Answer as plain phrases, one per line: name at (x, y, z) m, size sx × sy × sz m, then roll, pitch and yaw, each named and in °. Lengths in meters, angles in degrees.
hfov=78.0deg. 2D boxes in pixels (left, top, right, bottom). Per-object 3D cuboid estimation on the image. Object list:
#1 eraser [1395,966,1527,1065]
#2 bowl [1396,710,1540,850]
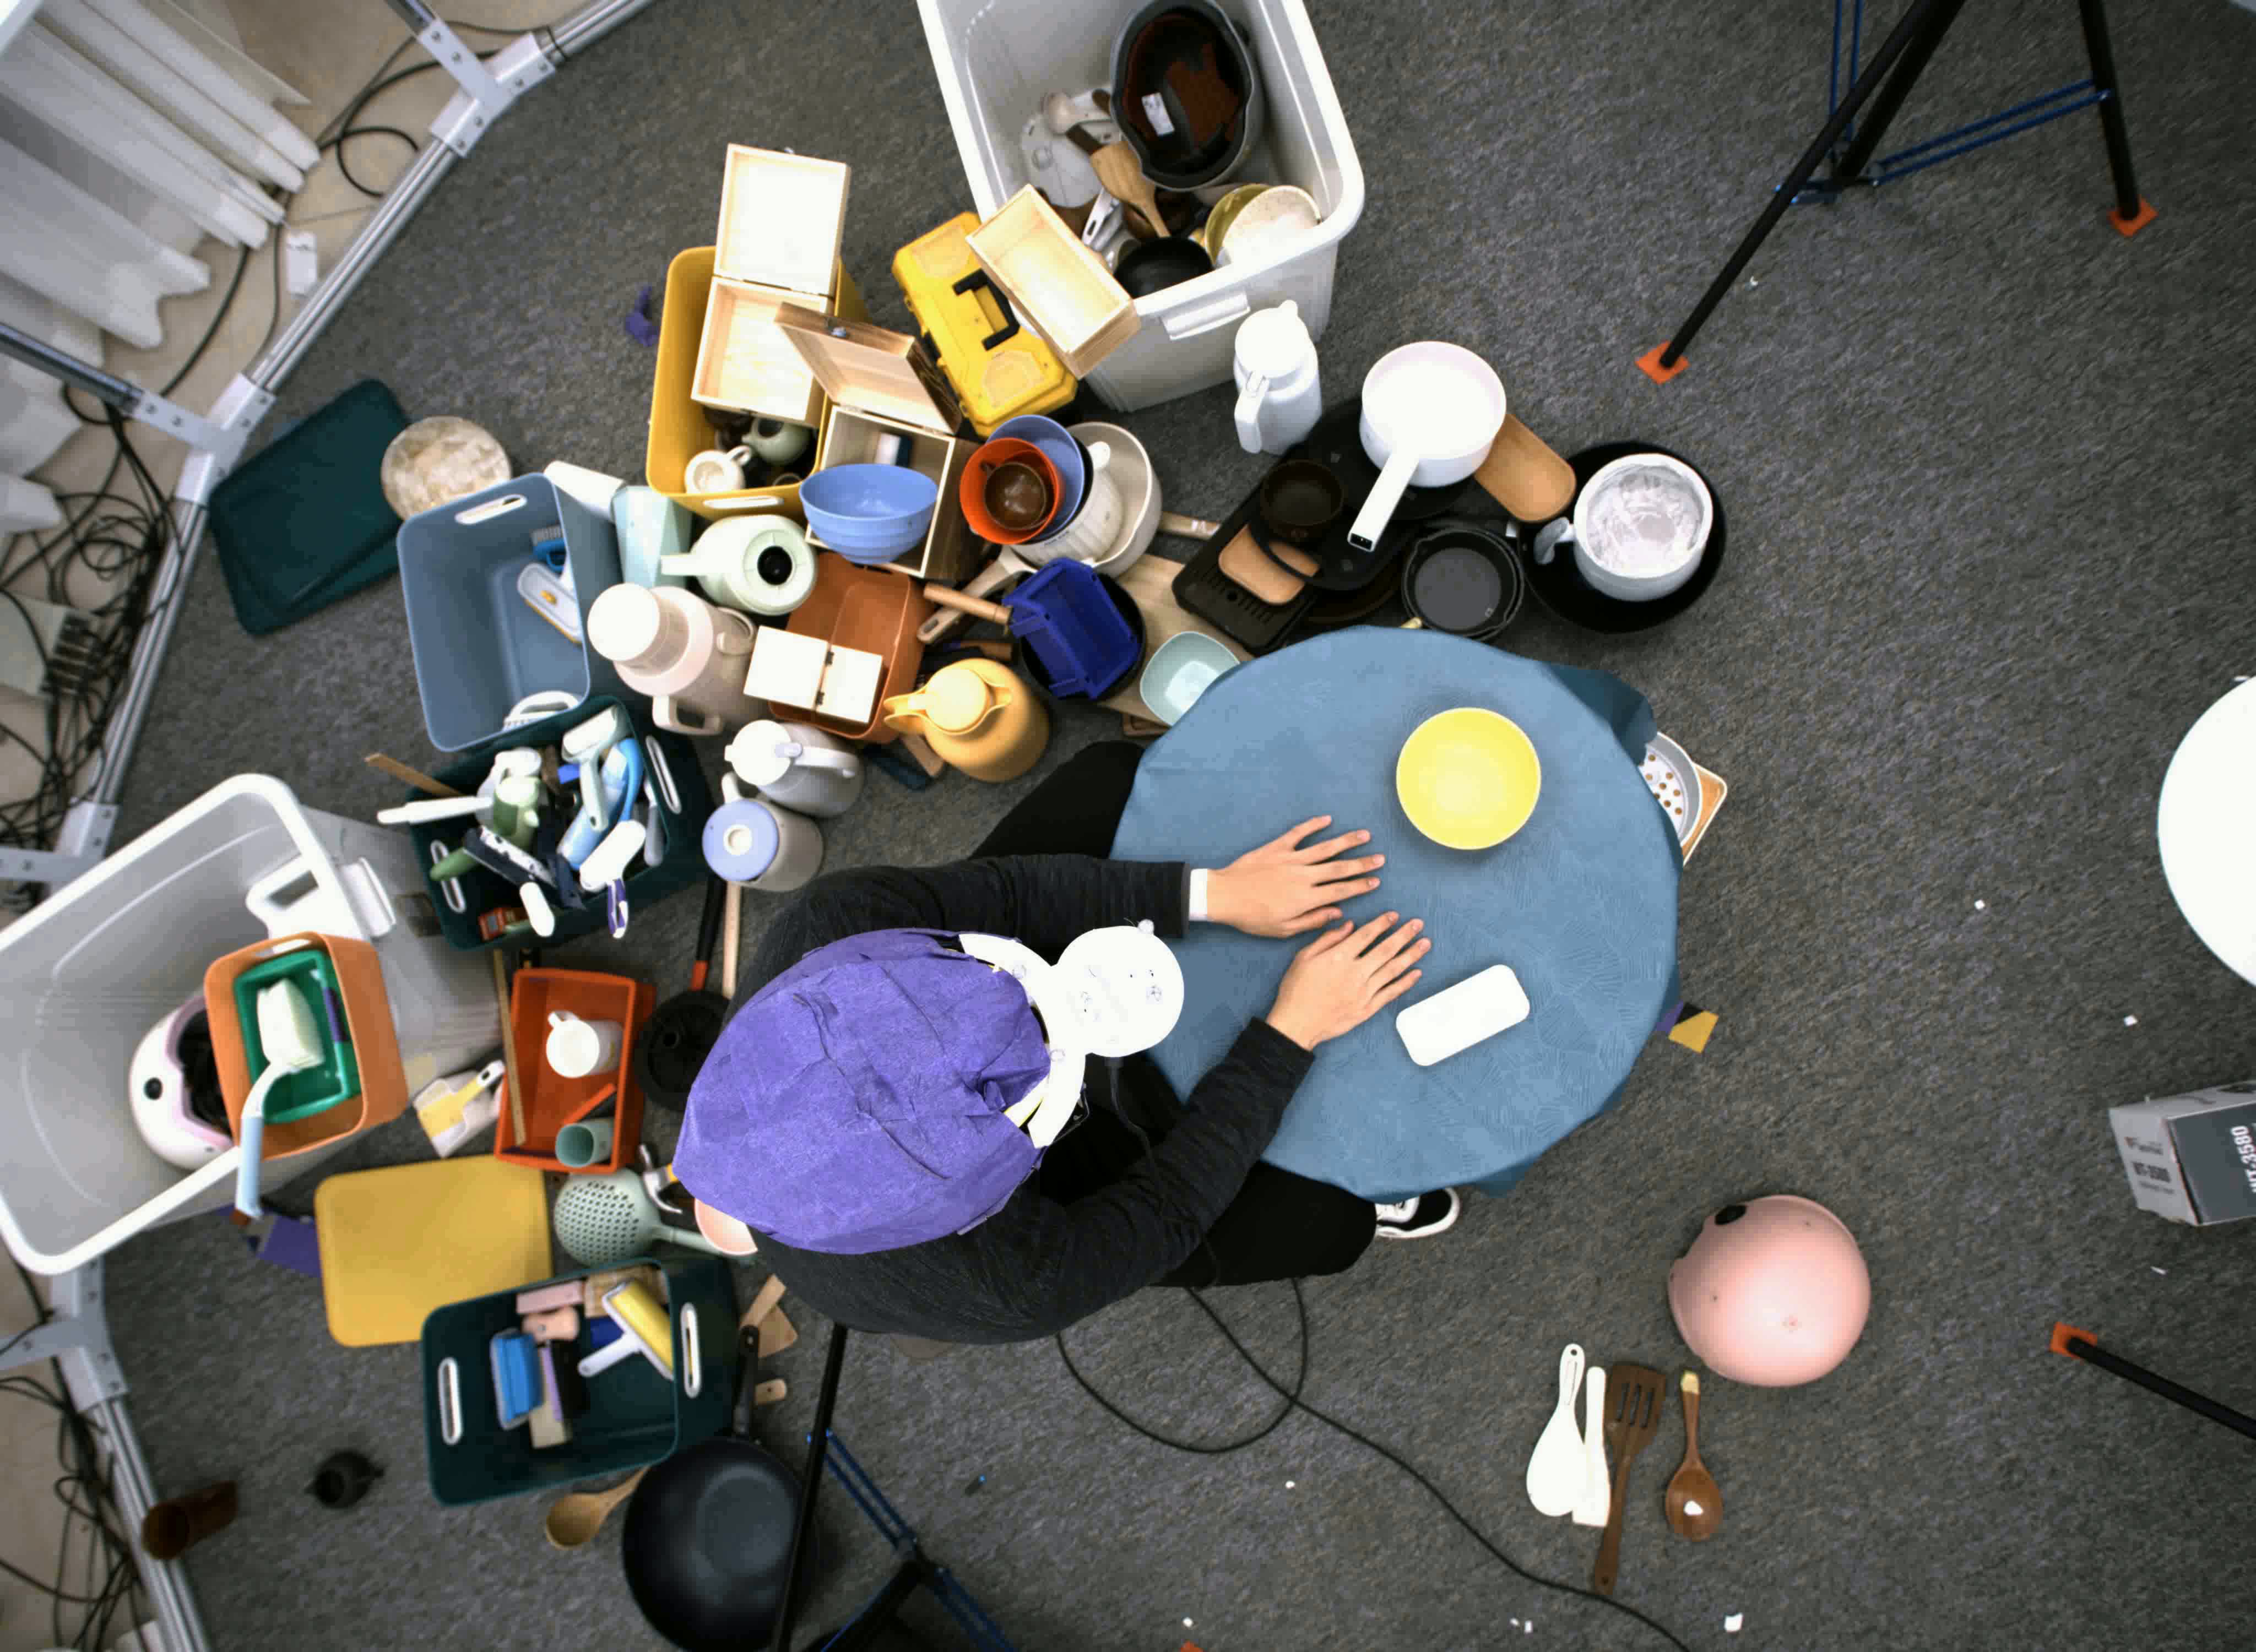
eraser at (0.343, 0.192, 1.424) m, size 0.132 × 0.034 × 0.063 m, roll -27°, pitch 81°, yaw 7°
bowl at (0.350, -0.046, 1.422) m, size 0.146 × 0.060 × 0.144 m, roll -1°, pitch 85°, yaw 11°
